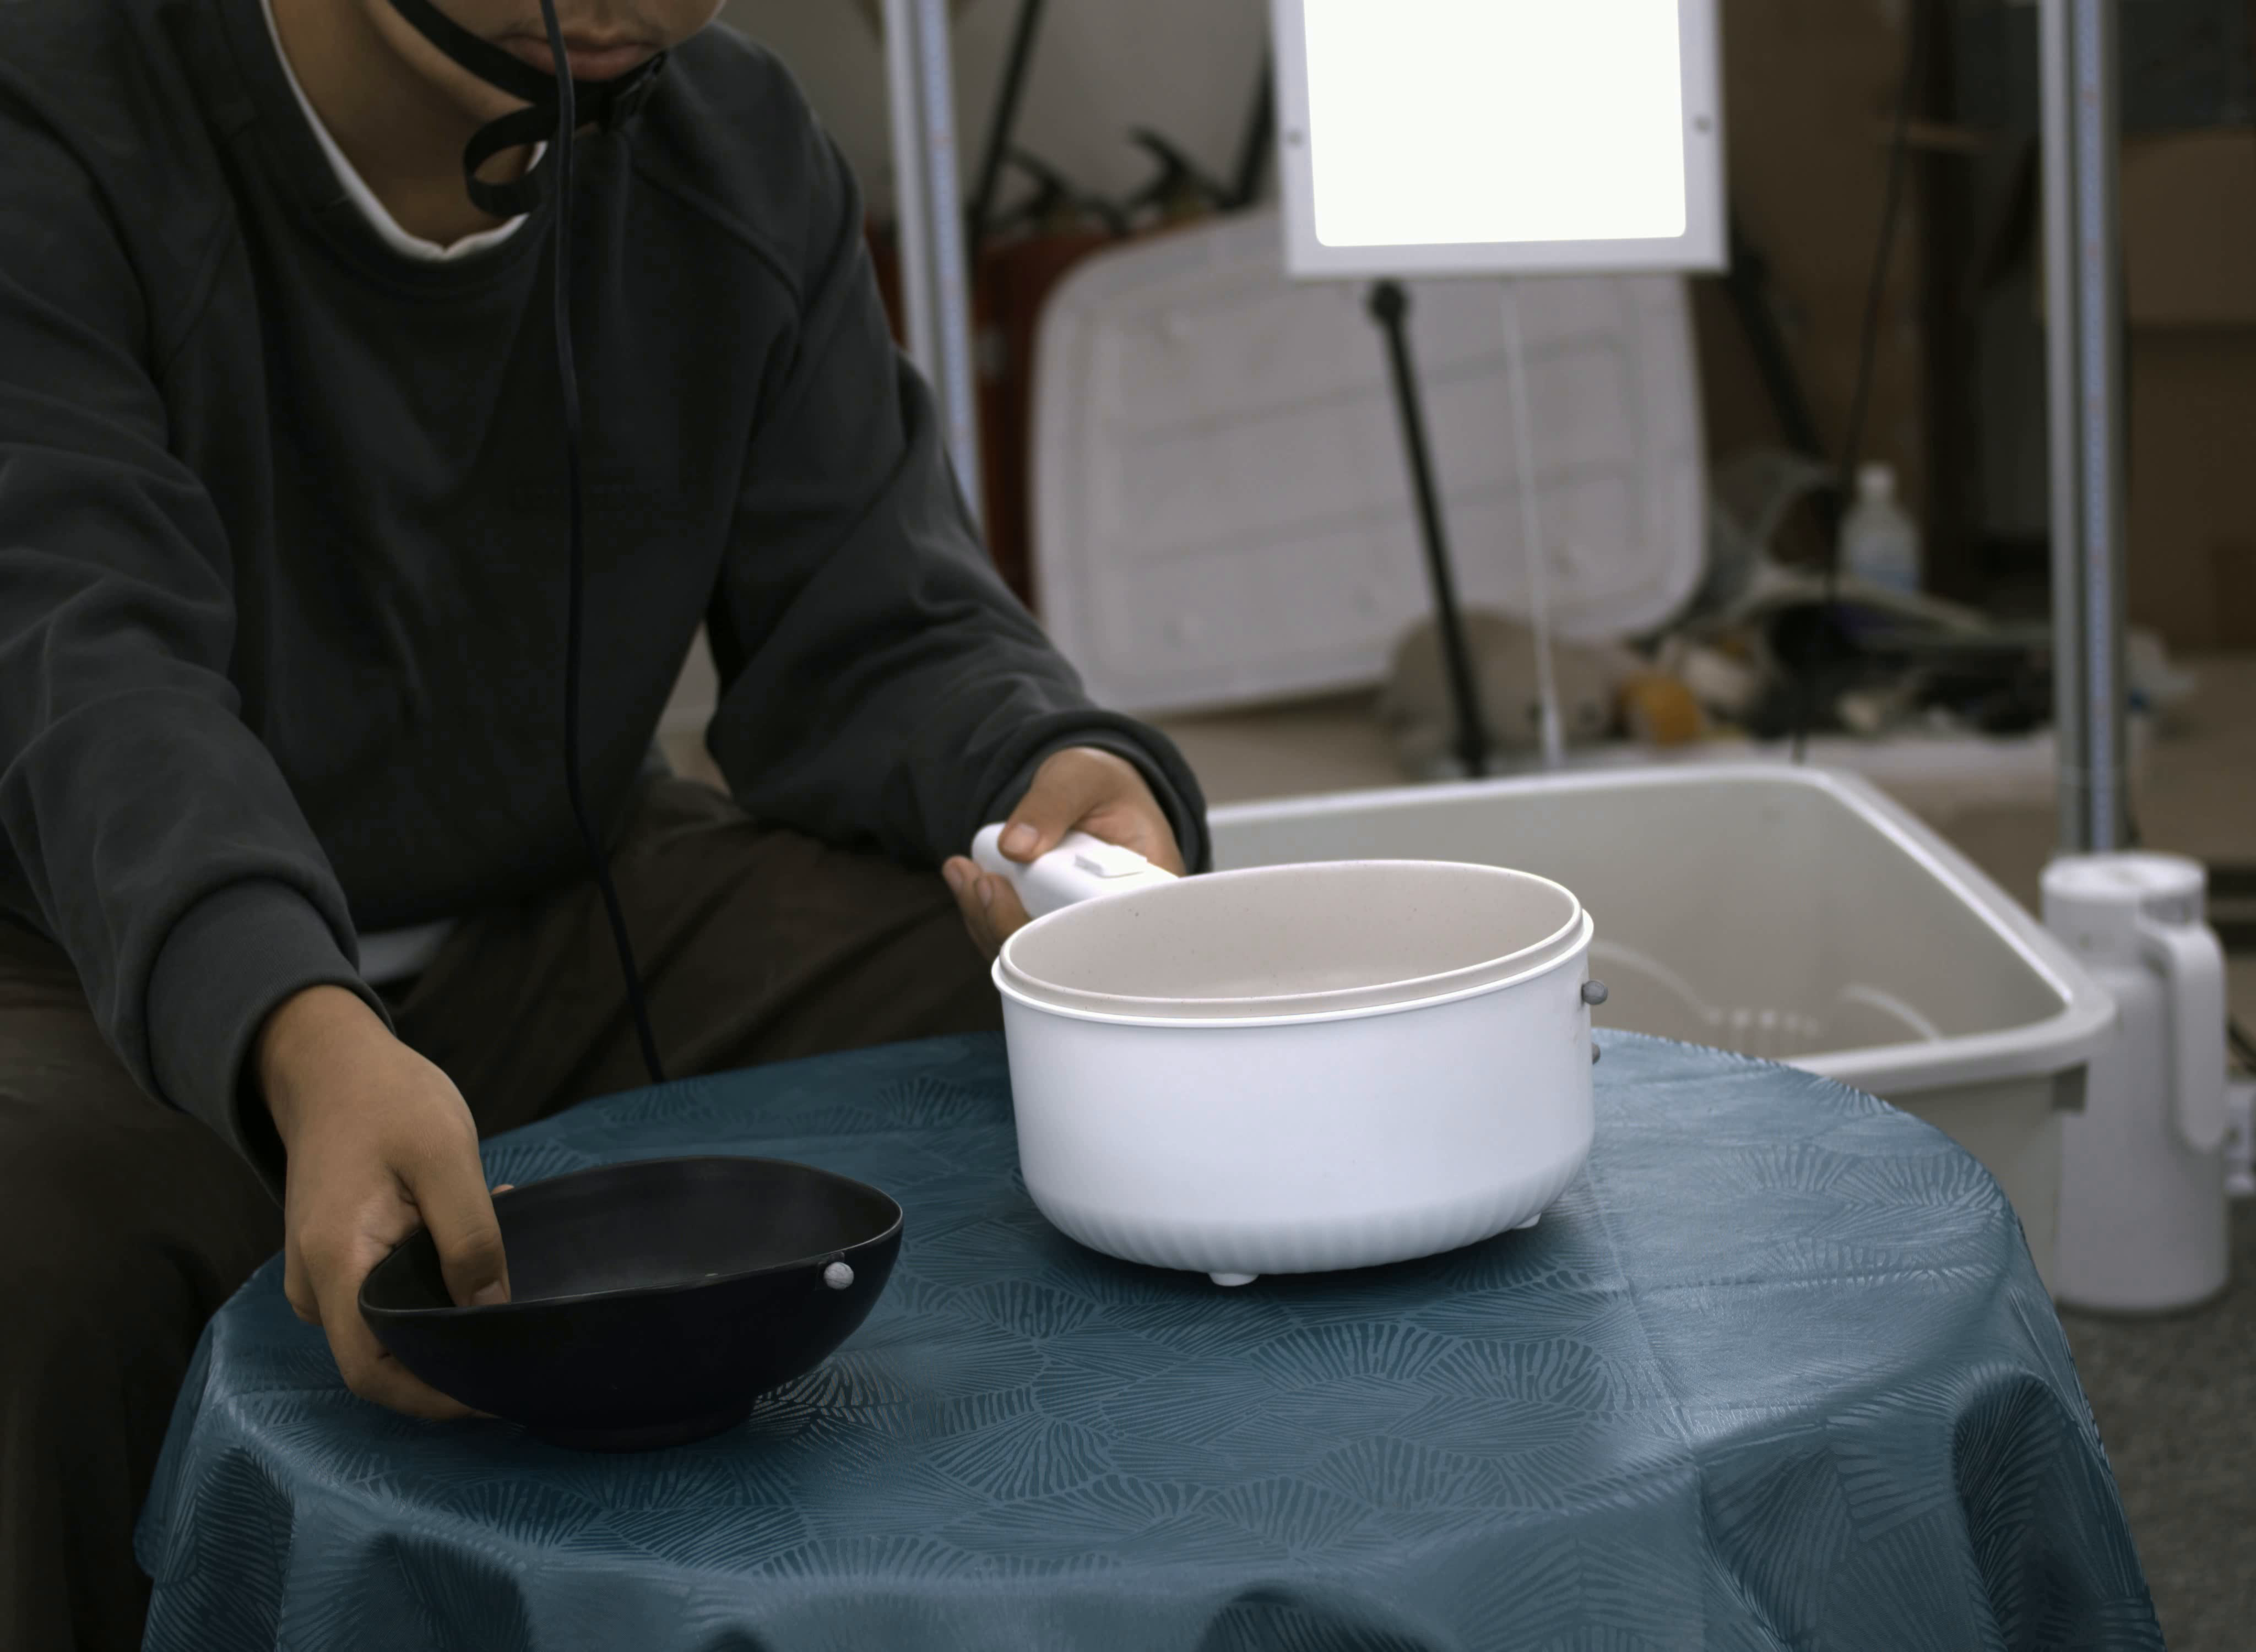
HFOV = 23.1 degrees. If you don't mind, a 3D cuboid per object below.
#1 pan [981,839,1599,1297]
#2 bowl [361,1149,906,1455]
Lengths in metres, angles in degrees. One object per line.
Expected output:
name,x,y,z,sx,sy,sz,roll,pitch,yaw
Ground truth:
pan,0.030,0.076,1.911,0.198,0.102,0.360,-12,12,-20
bowl,-0.150,0.153,1.705,0.169,0.067,0.138,-8,13,-8
